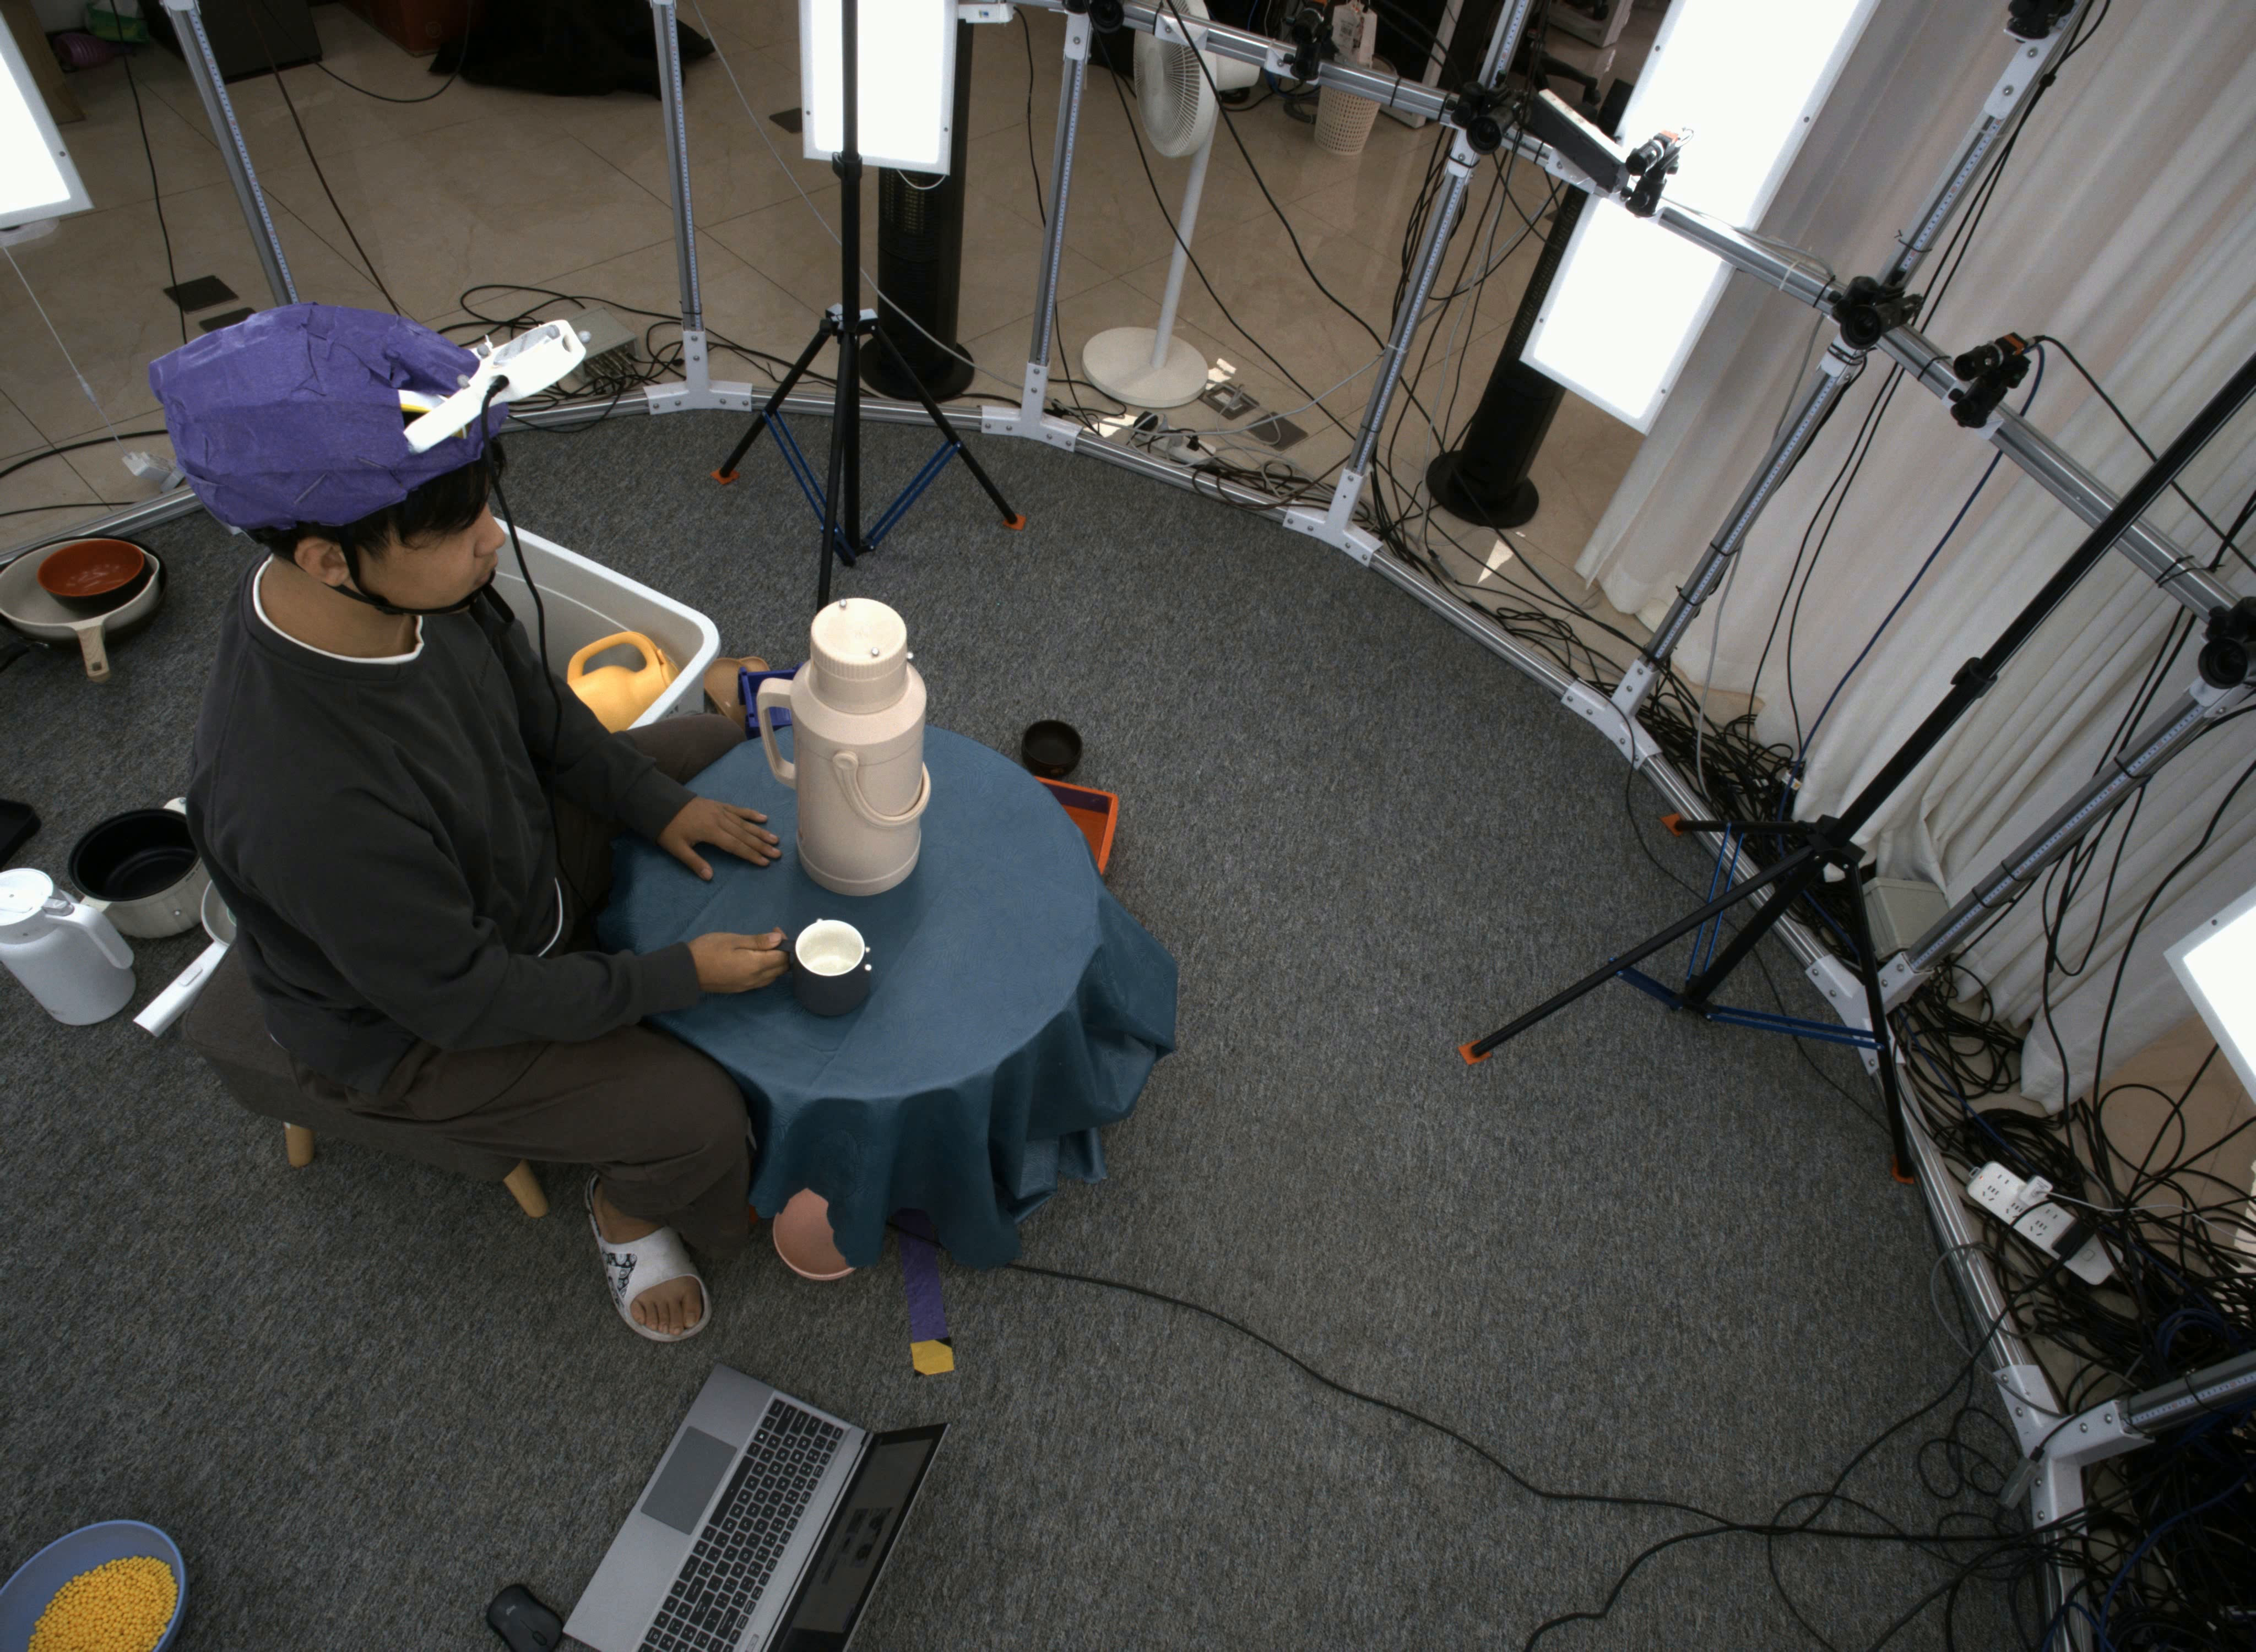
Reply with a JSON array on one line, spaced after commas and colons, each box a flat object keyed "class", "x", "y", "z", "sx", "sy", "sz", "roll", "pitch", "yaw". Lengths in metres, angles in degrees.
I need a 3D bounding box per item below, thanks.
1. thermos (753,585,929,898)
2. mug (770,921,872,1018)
[{"class": "thermos", "x": -0.340, "y": -0.099, "z": 1.559, "sx": 0.206, "sy": 0.415, "sz": 0.172, "roll": 7, "pitch": 51, "yaw": -7}, {"class": "mug", "x": -0.369, "y": 0.165, "z": 1.552, "sx": 0.122, "sy": 0.092, "sz": 0.092, "roll": 15, "pitch": 51, "yaw": -2}]
